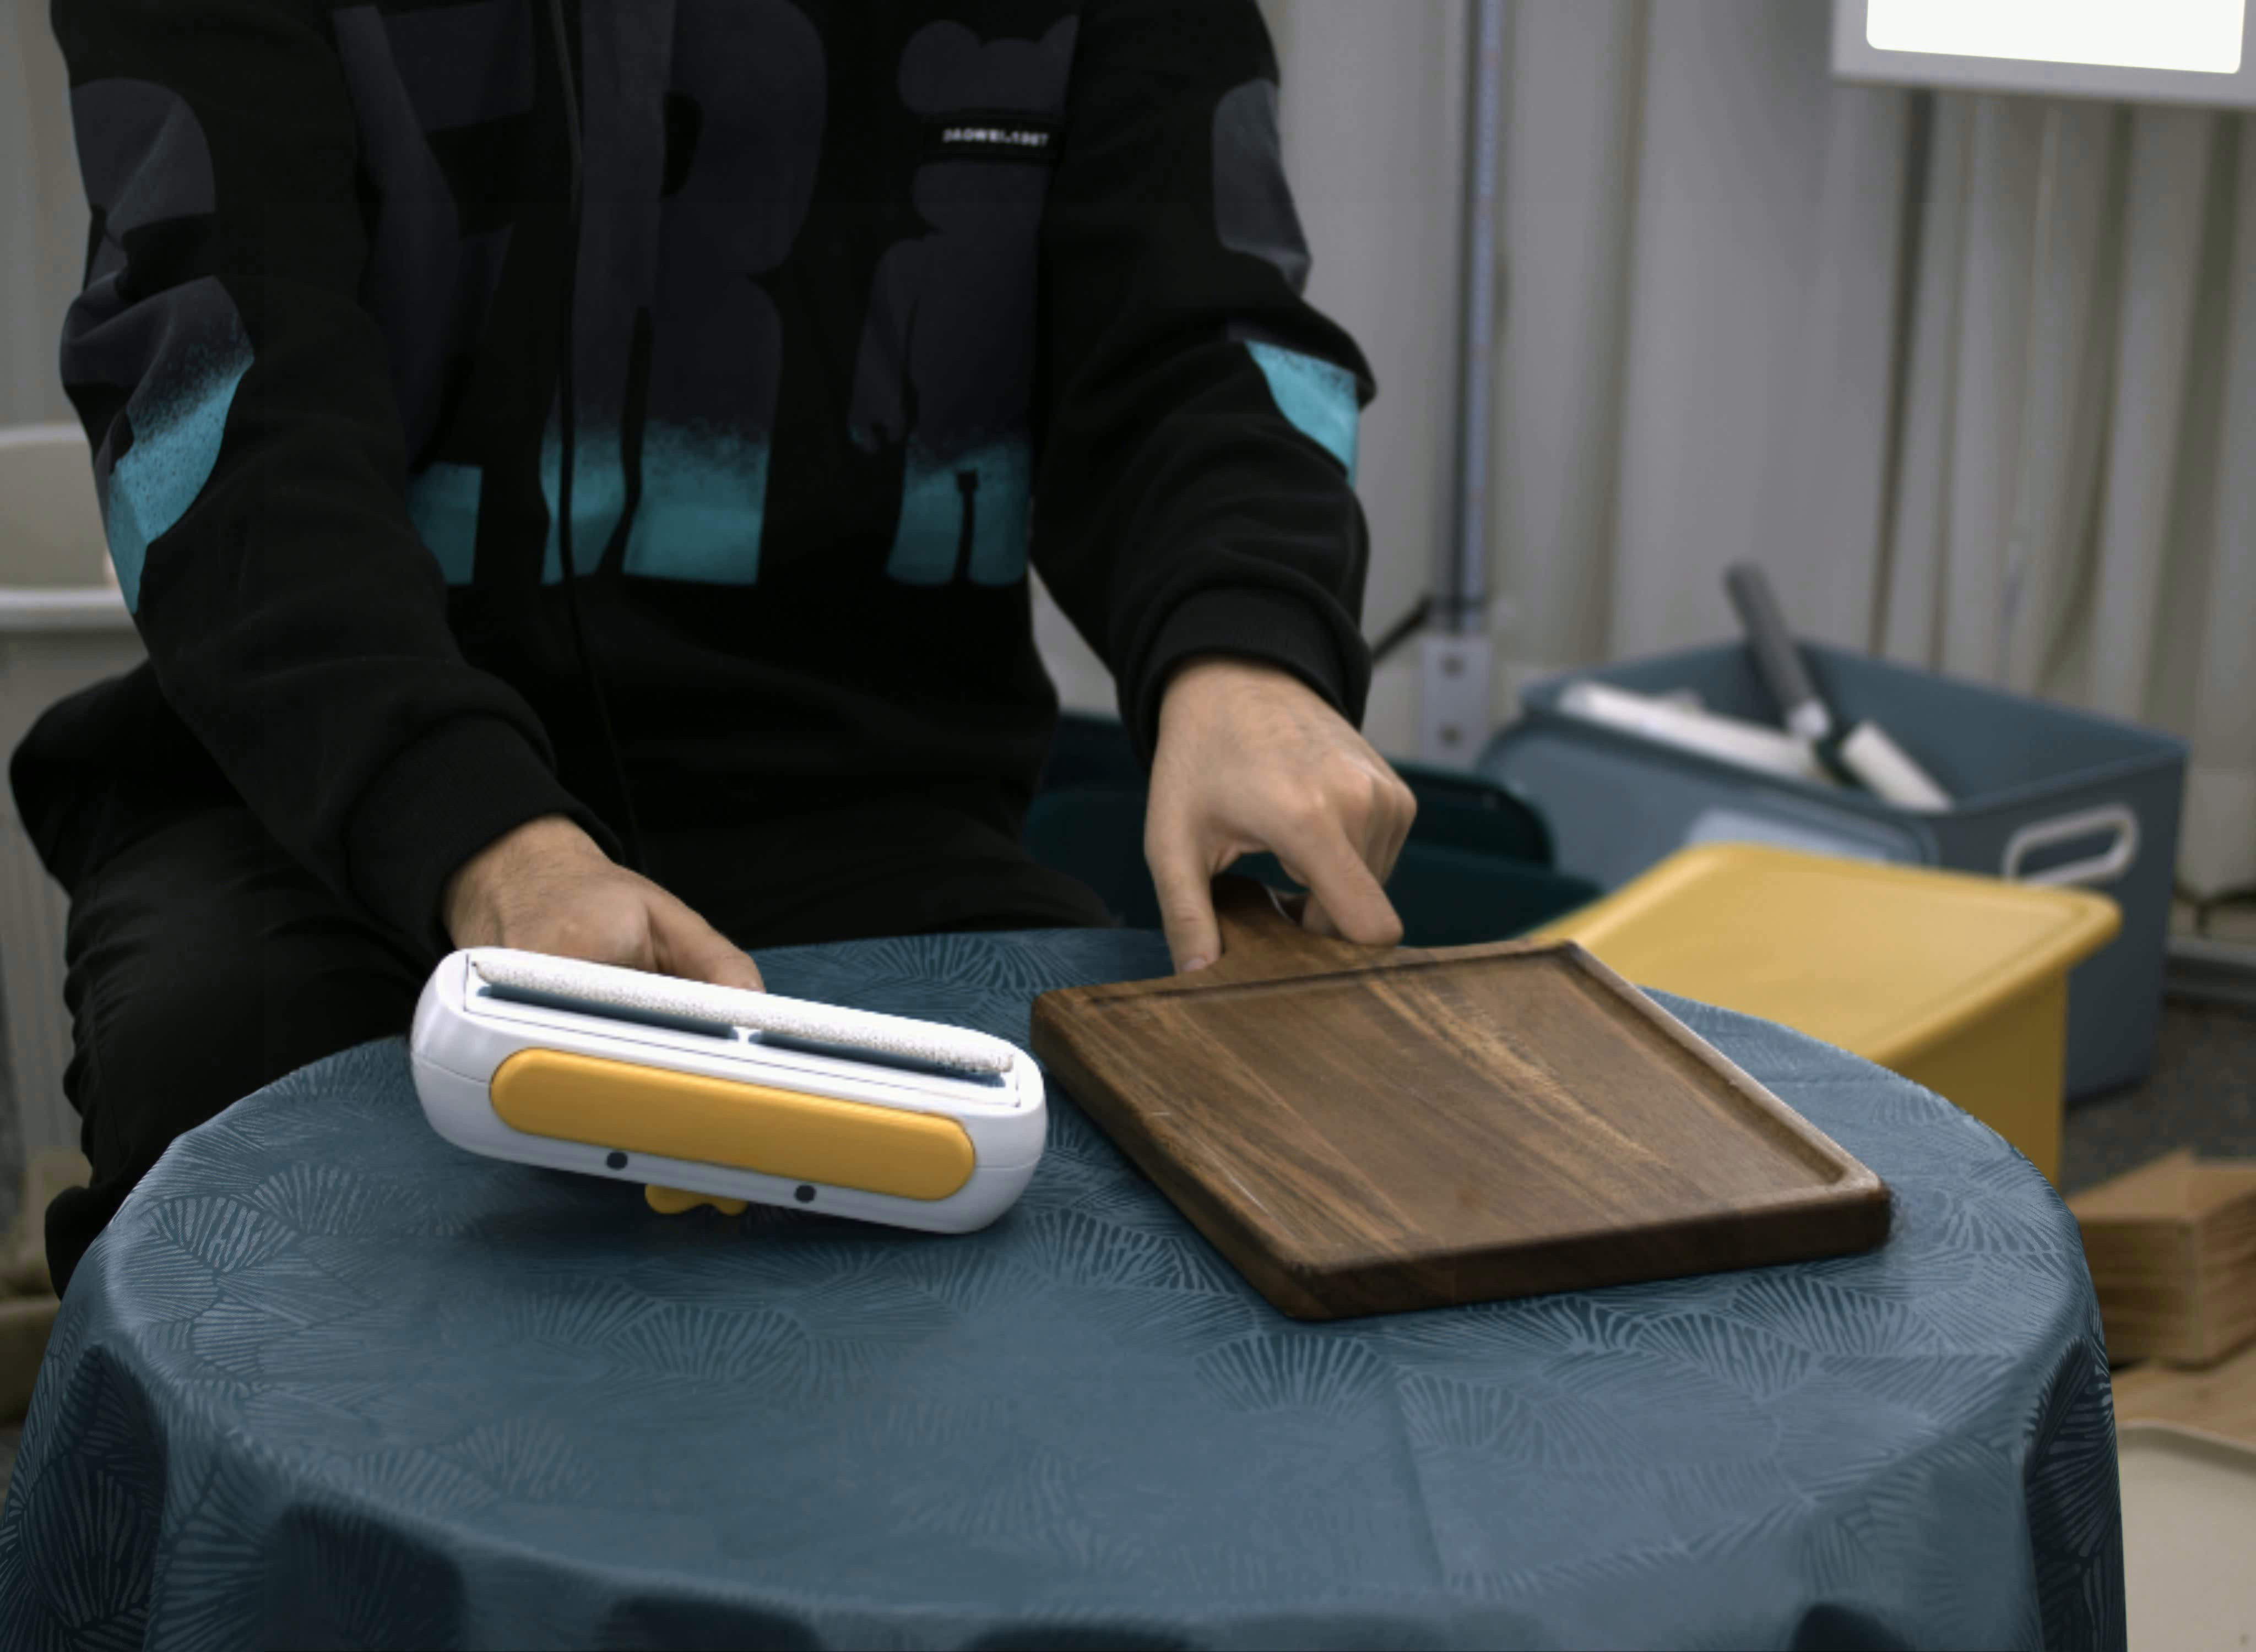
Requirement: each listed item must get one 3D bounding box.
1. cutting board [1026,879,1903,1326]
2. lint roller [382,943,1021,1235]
[{"bbox_3d":[0.083,0.077,1.691,0.201,0.023,0.348,-6,18,-19],"label":"cutting board"},{"bbox_3d":[-0.131,0.071,1.636,0.192,0.074,0.191,7,13,-5],"label":"lint roller"}]
